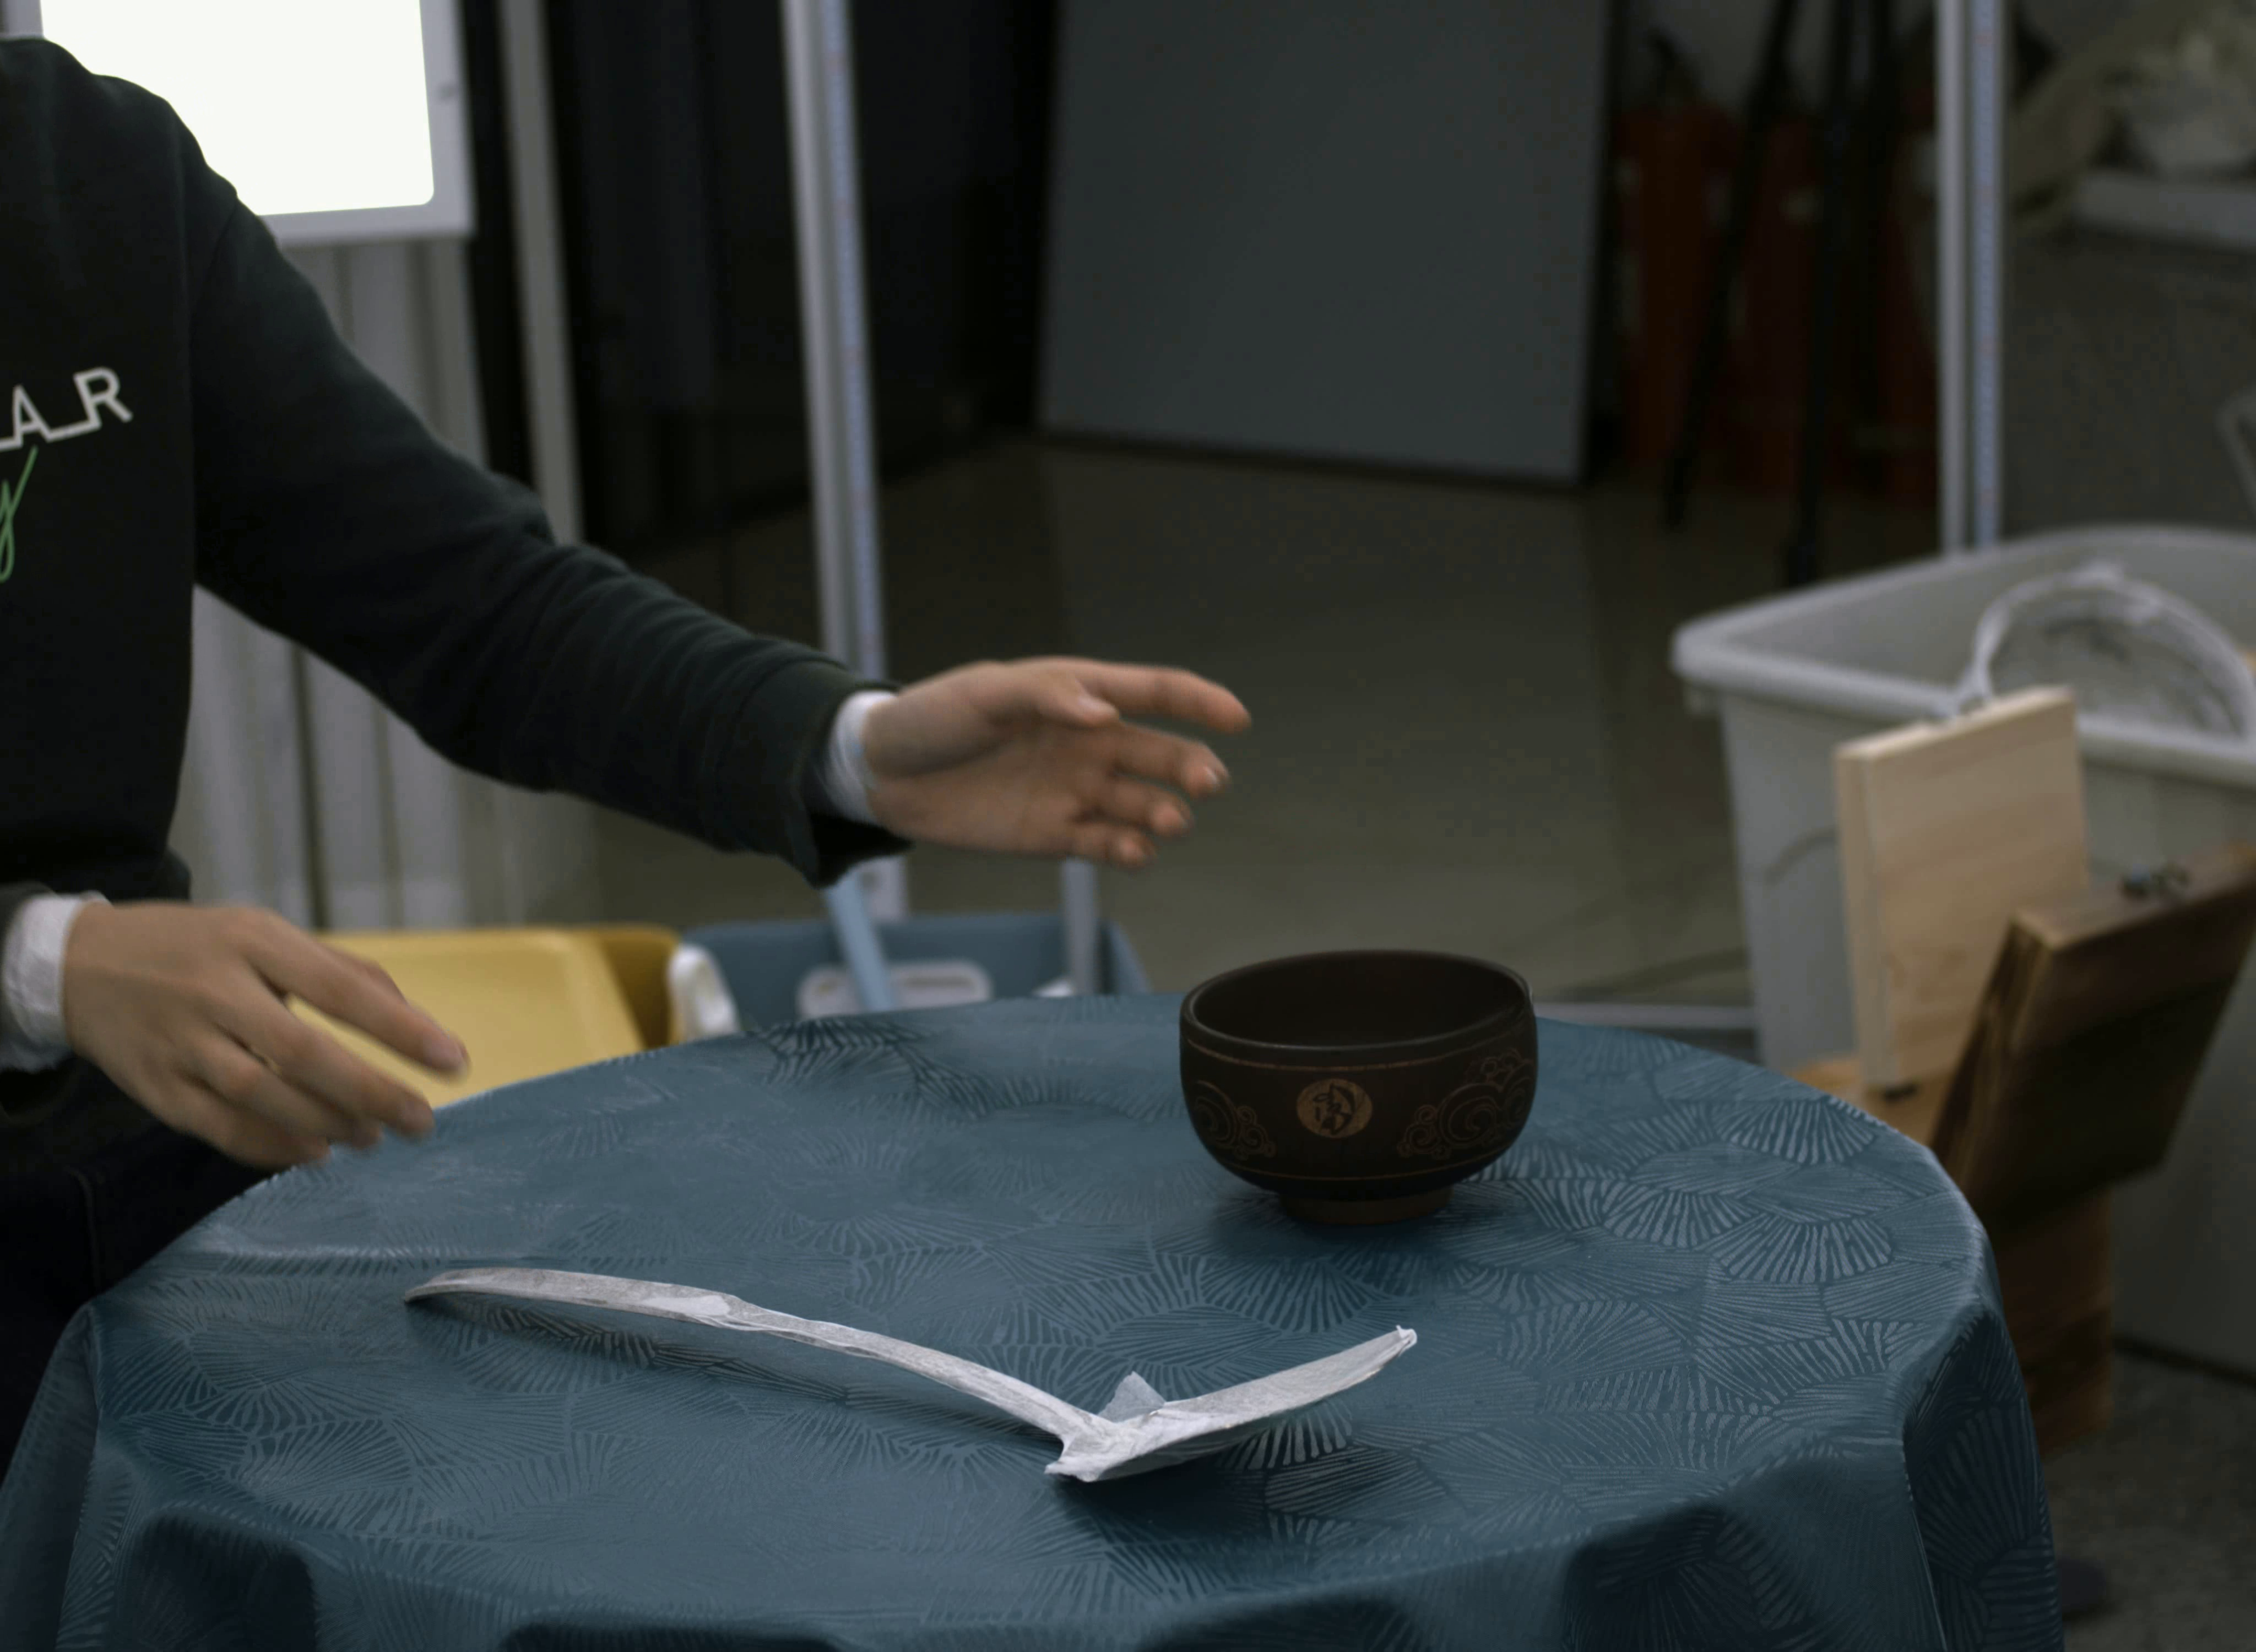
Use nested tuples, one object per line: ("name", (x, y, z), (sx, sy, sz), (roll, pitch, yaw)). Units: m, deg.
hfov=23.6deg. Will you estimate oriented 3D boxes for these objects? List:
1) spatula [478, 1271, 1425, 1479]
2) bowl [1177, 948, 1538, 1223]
("spatula", (-0.073, 0.150, 1.595), (0.368, 0.045, 0.097), (8, 20, 40))
("bowl", (0.075, 0.087, 1.739), (0.116, 0.070, 0.118), (-4, 12, 0))
